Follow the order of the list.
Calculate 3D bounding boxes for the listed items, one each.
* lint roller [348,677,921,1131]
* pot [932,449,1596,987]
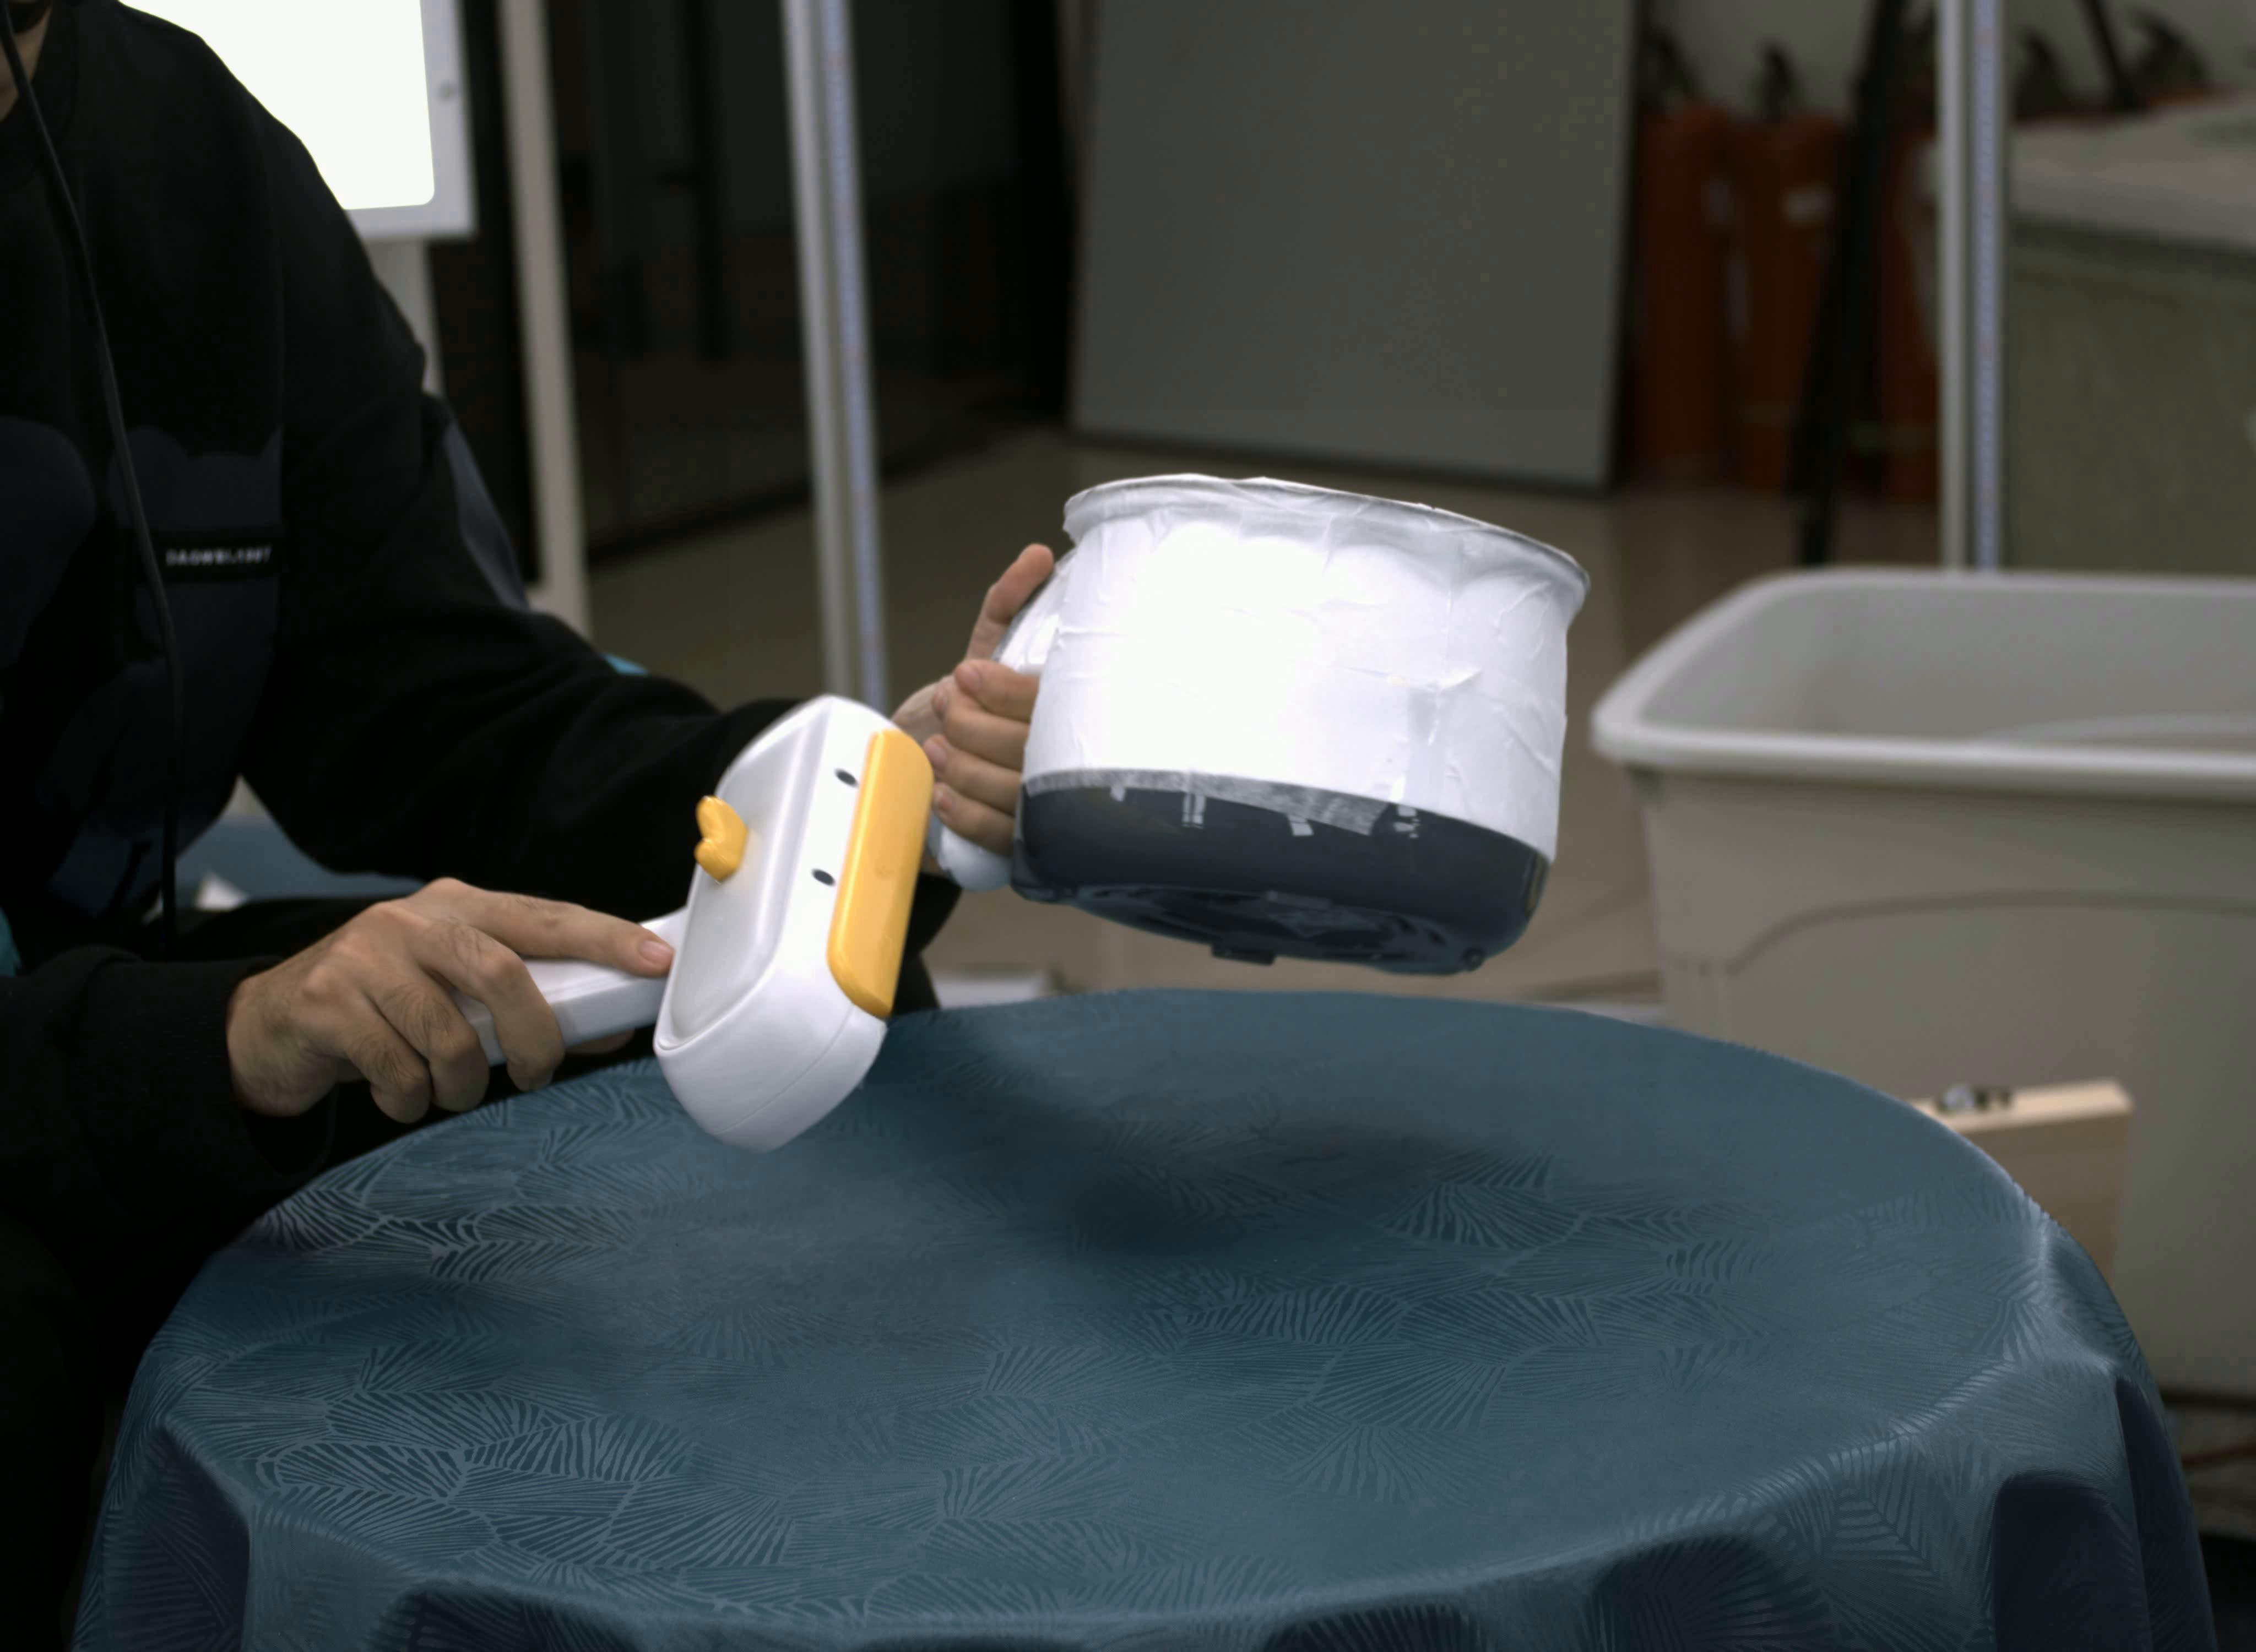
[{"bbox_3d":[-0.153,0.045,1.696,0.192,0.073,0.194,-29,29,17],"label":"lint roller"},{"bbox_3d":[0.034,-0.034,1.785,0.235,0.138,0.175,3,-15,40],"label":"pot"}]
